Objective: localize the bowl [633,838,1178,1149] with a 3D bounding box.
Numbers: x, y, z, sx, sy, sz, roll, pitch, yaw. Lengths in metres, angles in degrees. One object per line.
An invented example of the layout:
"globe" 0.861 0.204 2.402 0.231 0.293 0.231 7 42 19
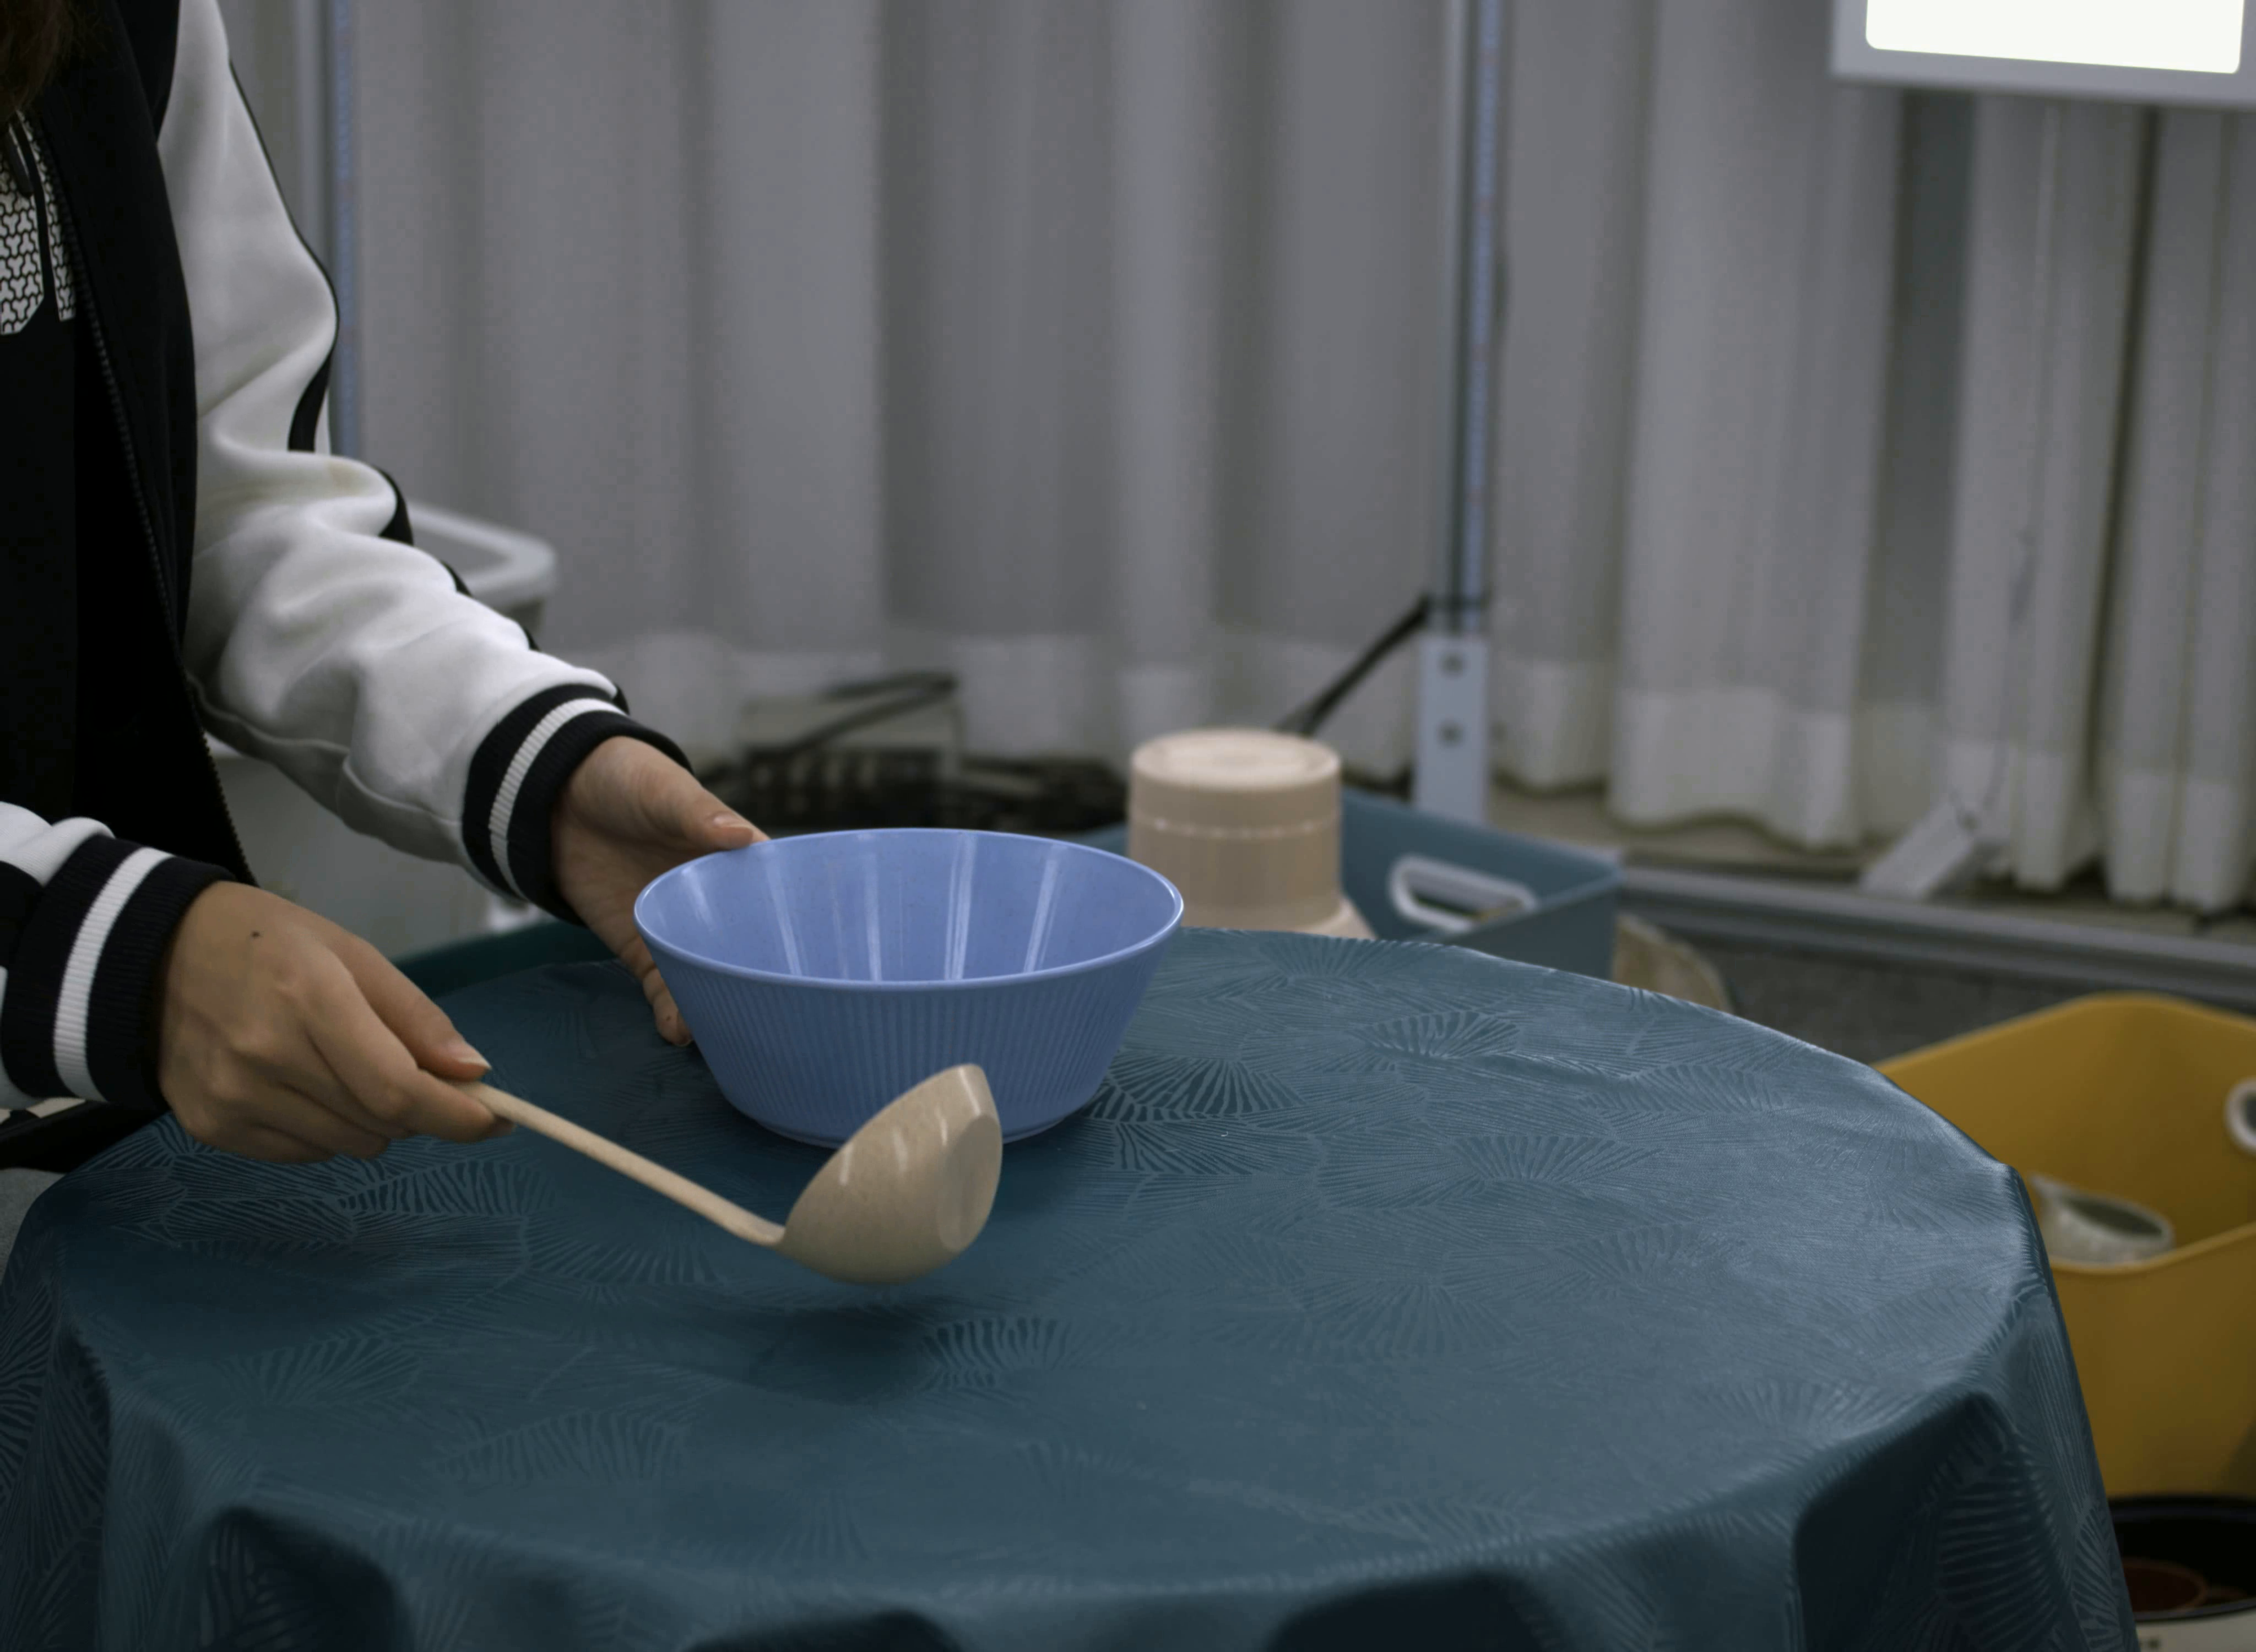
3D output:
"bowl" -0.071 0.056 1.691 0.175 0.071 0.175 1 15 0

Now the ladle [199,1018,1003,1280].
"ladle" -0.155 0.065 1.530 0.252 0.073 0.072 19 6 20
